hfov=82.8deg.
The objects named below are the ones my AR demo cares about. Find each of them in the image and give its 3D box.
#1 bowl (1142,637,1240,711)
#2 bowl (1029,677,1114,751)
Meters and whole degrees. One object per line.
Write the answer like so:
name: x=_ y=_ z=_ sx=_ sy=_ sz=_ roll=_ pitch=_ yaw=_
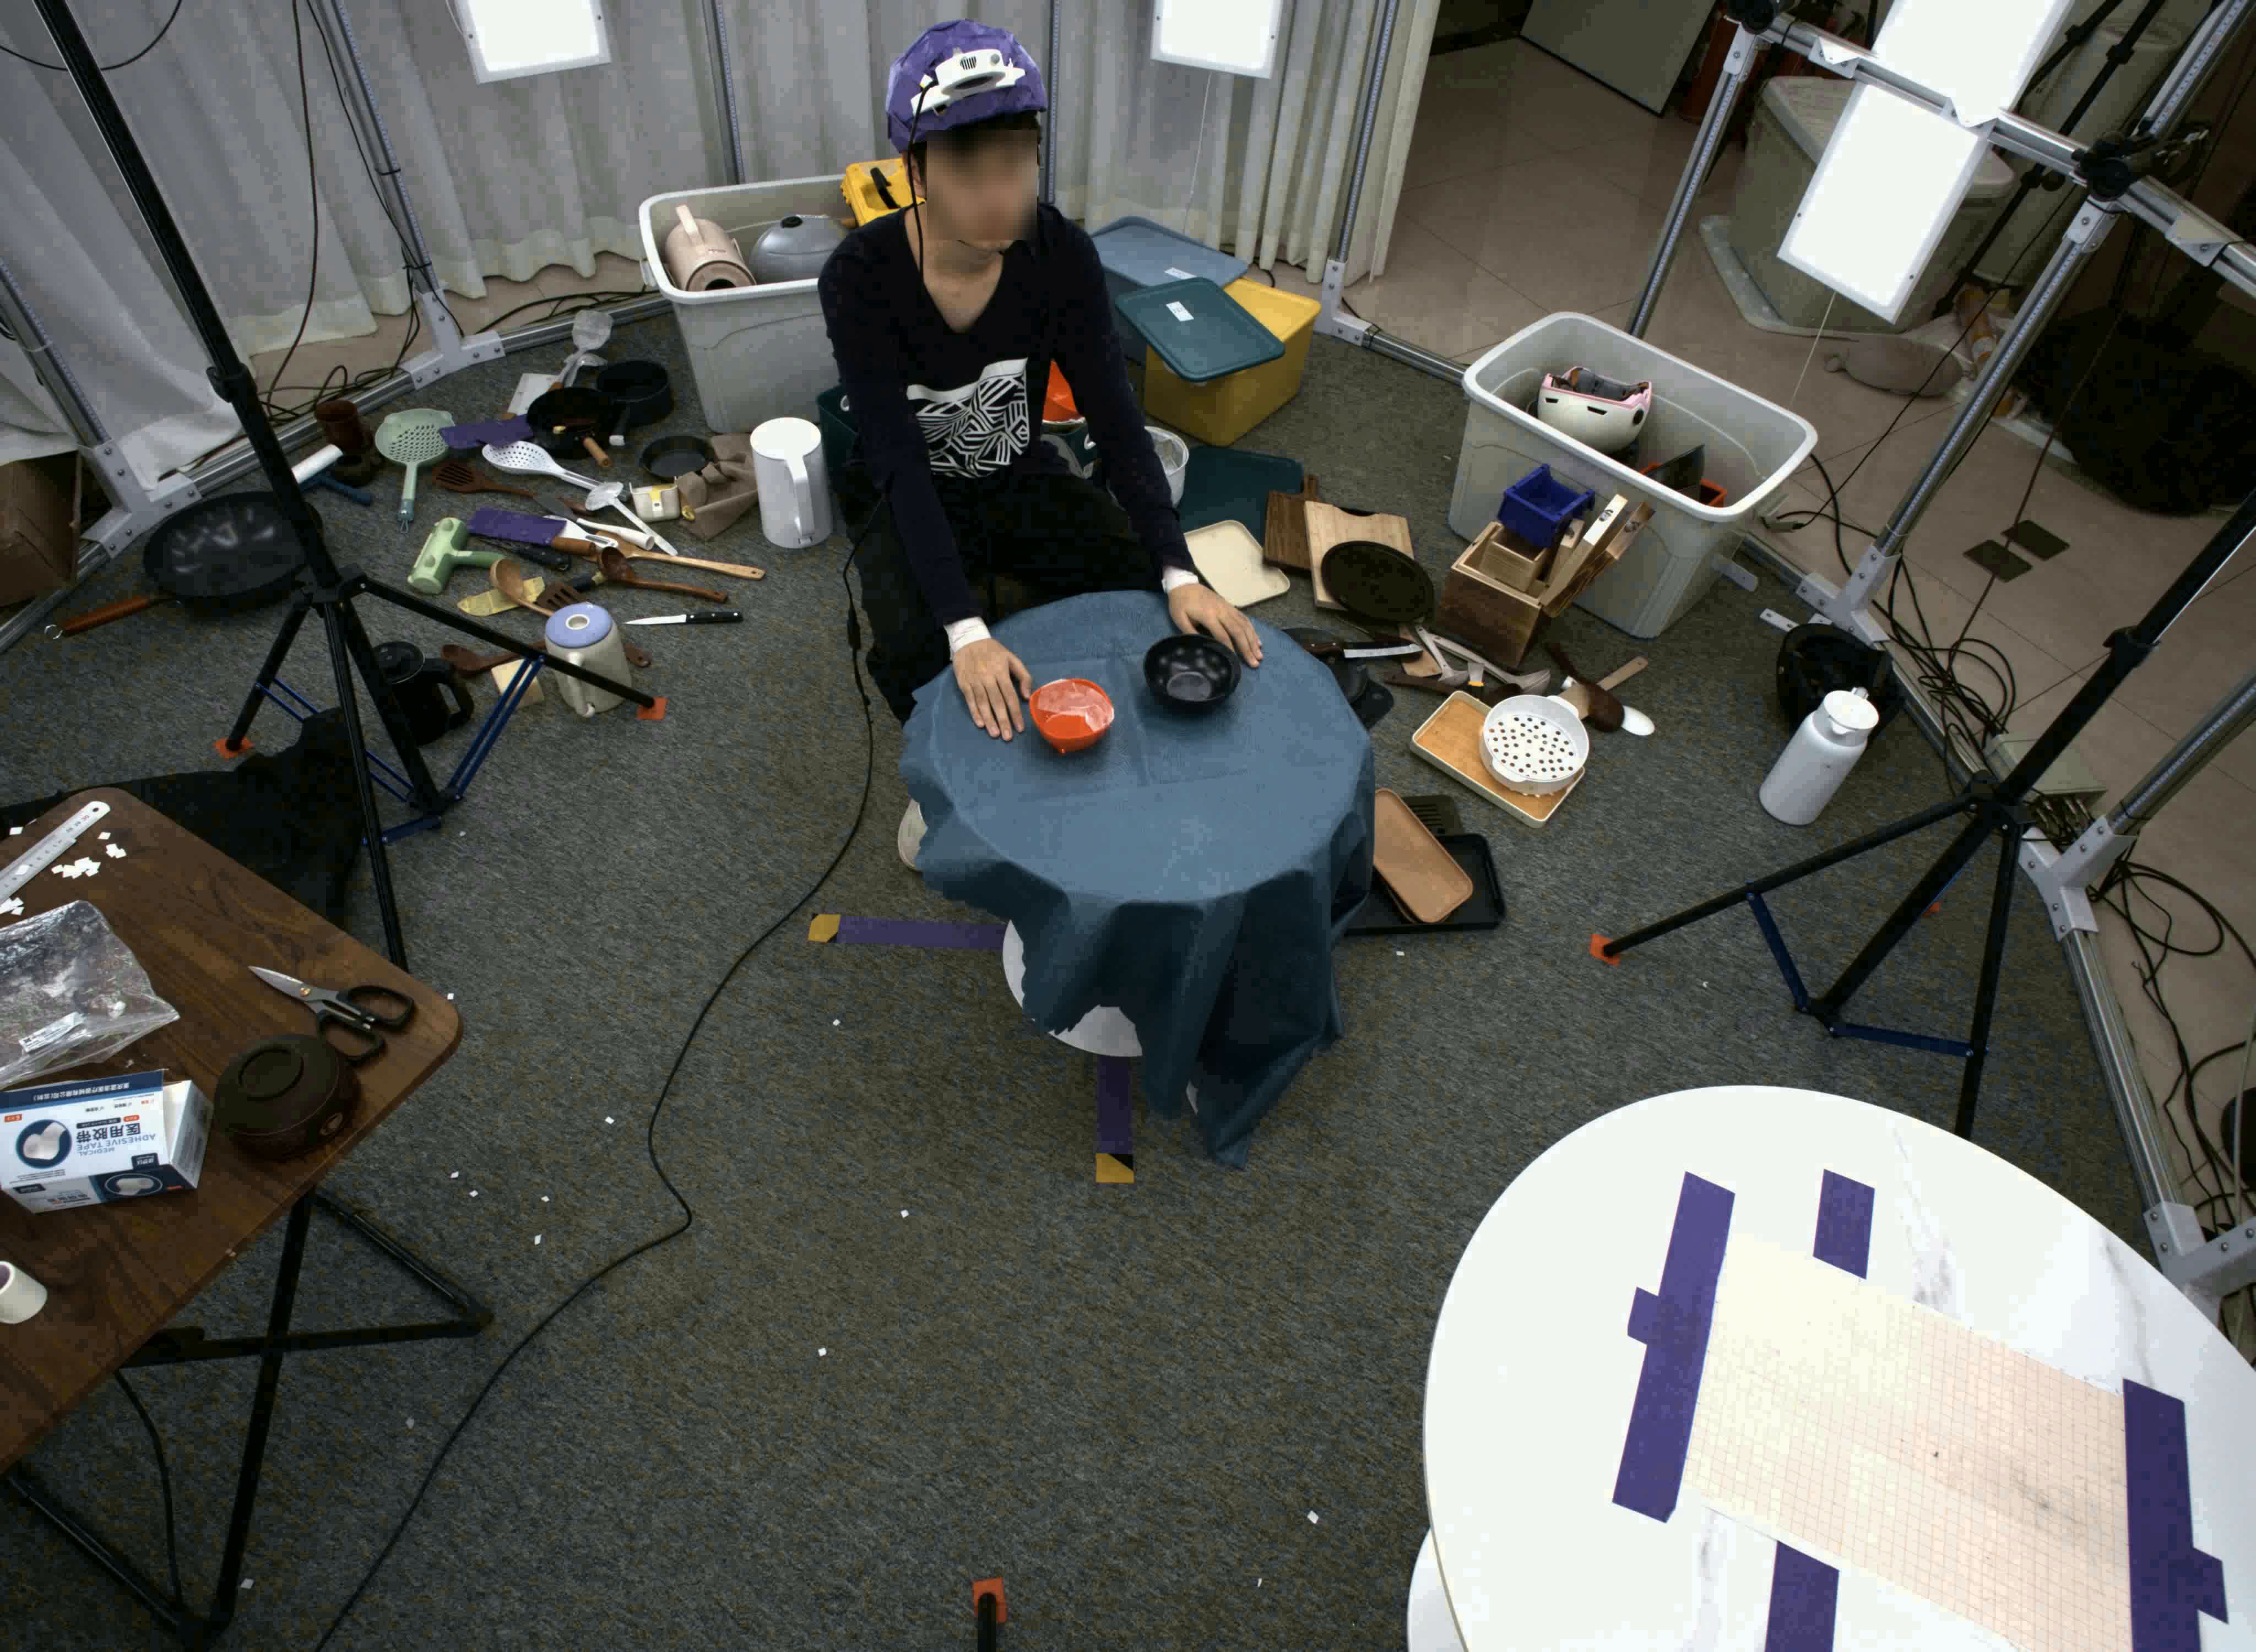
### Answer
bowl: x=0.088 y=-0.208 z=1.826 sx=0.140 sy=0.048 sz=0.143 roll=1 pitch=45 yaw=-1
bowl: x=-0.078 y=-0.146 z=1.755 sx=0.119 sy=0.050 sz=0.122 roll=2 pitch=51 yaw=-2
